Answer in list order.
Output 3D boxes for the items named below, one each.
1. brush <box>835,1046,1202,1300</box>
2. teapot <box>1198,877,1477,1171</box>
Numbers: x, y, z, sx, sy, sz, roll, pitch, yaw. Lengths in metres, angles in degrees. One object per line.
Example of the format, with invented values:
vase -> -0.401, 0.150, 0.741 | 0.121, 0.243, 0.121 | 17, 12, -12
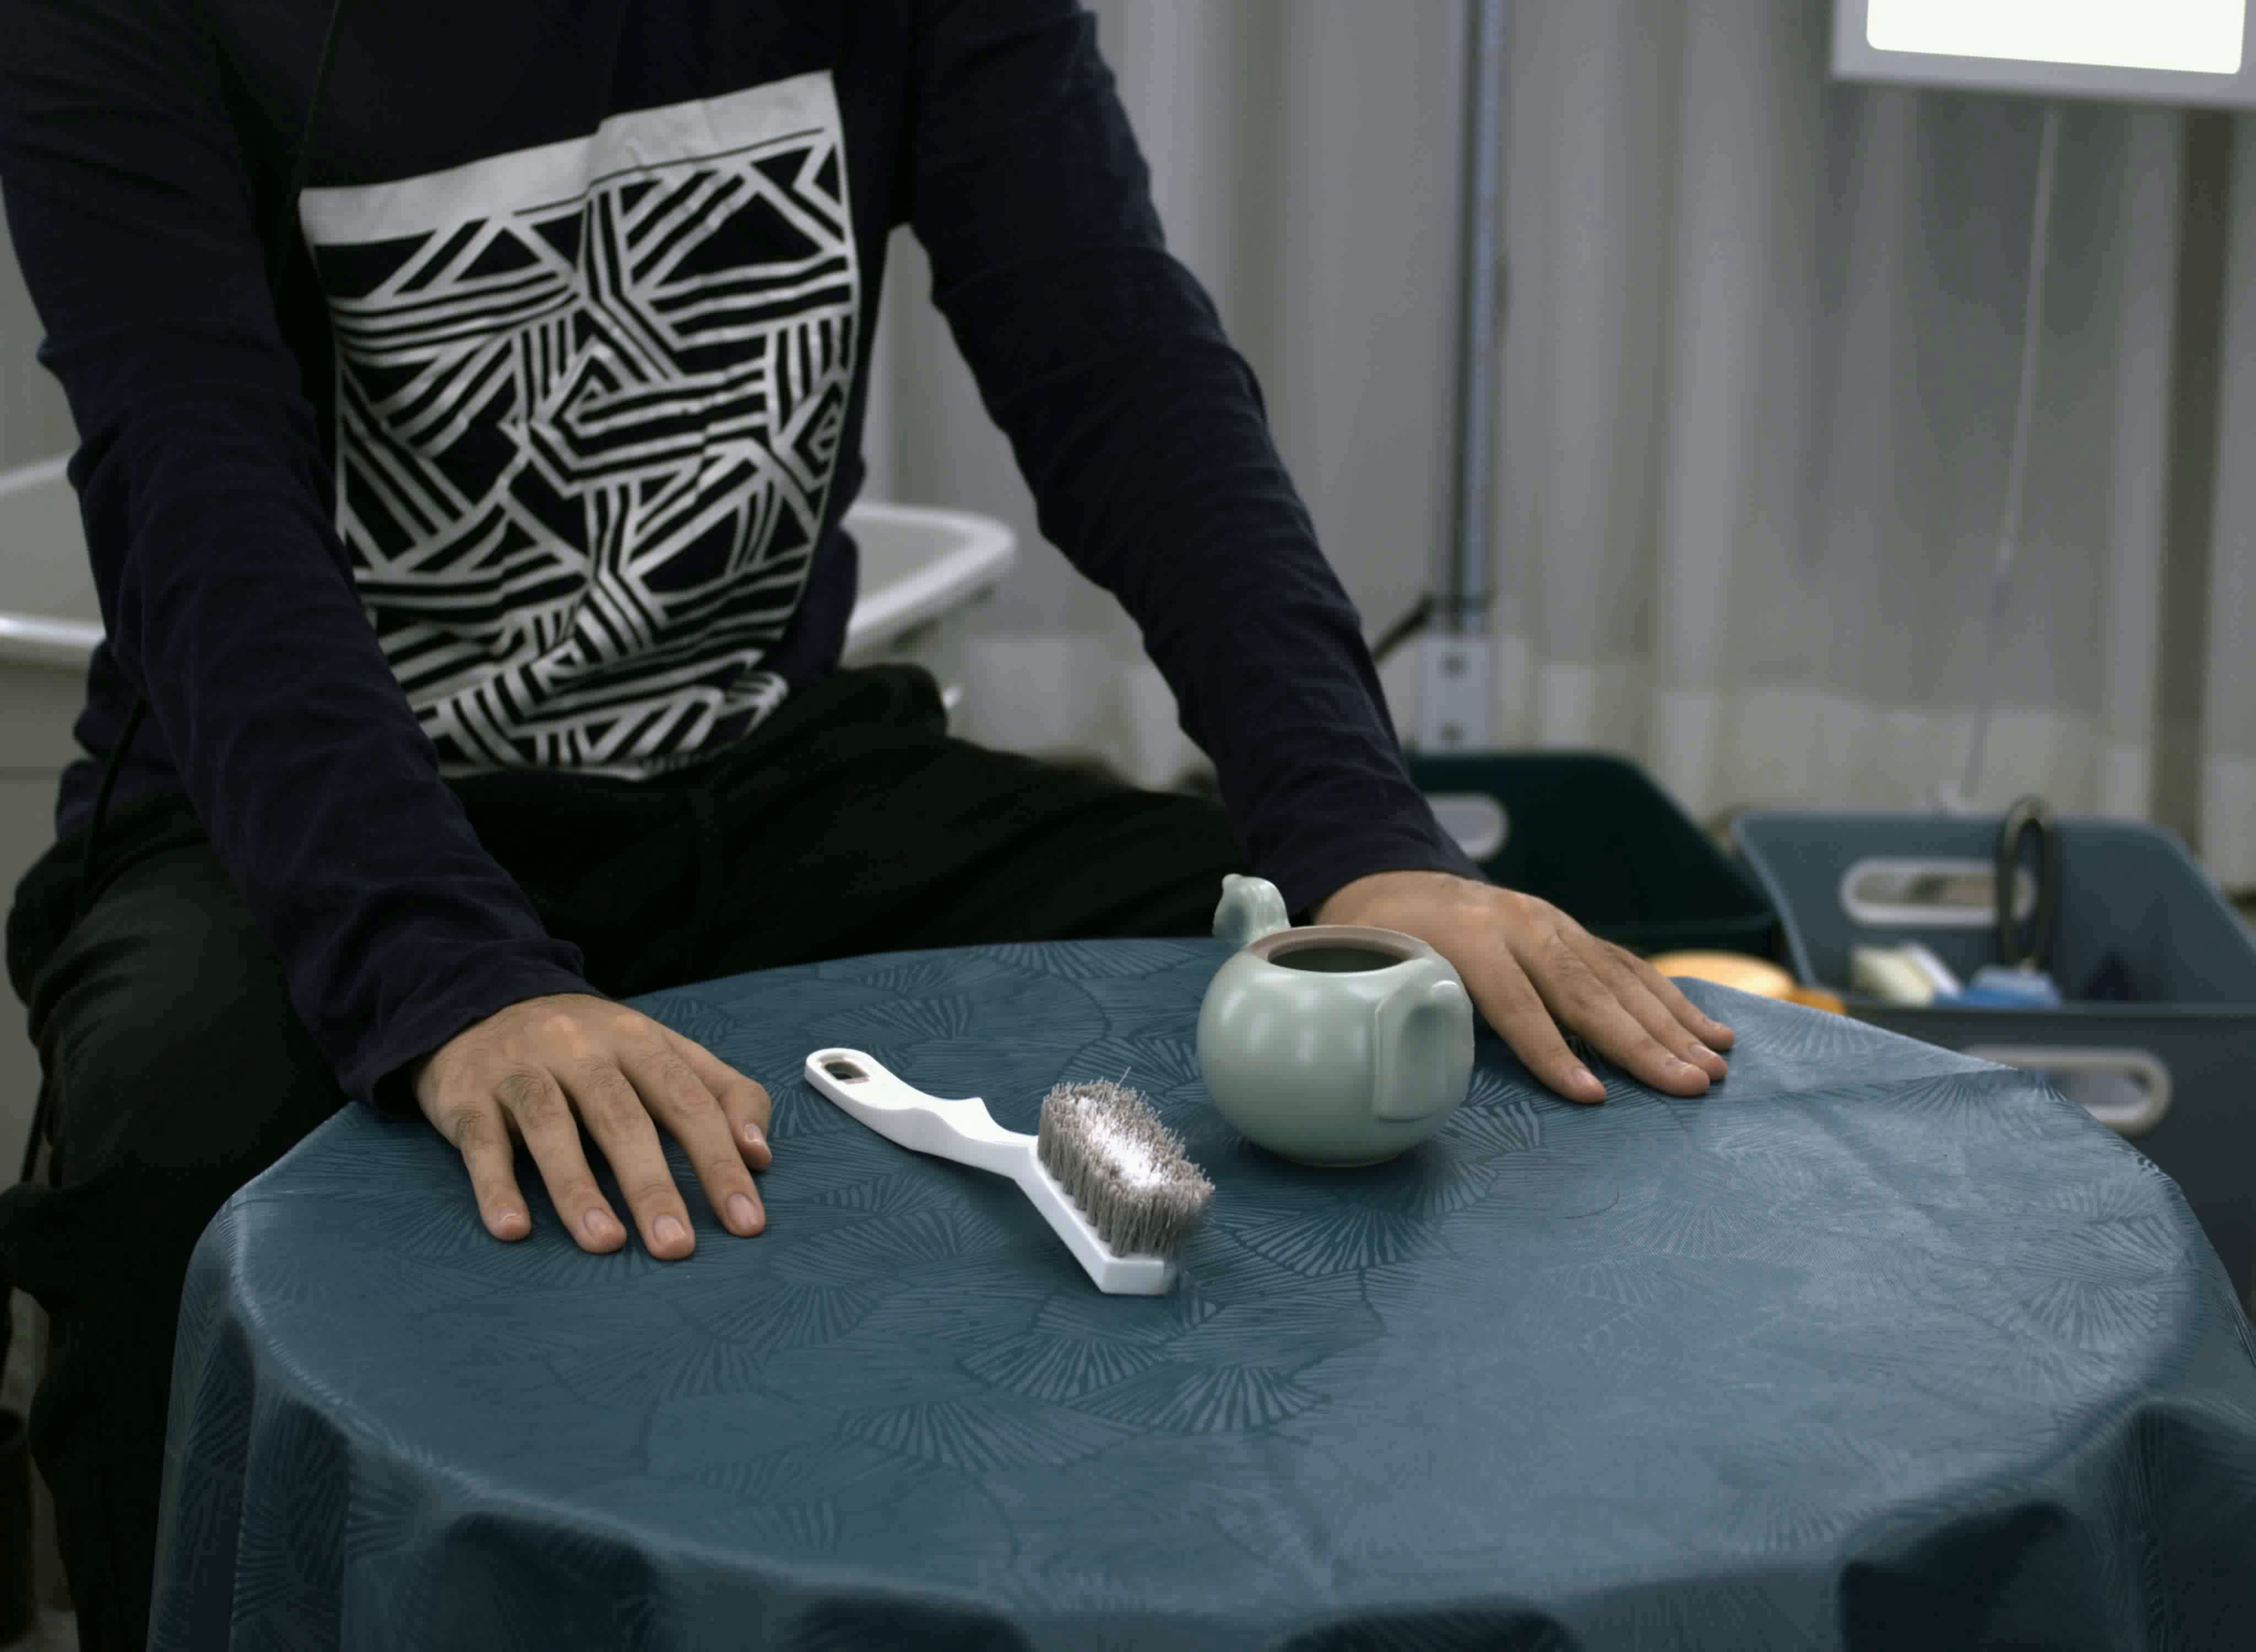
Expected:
brush -> -0.040, 0.087, 1.626 | 0.034, 0.051, 0.241 | -12, 19, -22
teapot -> 0.066, 0.067, 1.658 | 0.088, 0.075, 0.142 | -8, 19, -25
